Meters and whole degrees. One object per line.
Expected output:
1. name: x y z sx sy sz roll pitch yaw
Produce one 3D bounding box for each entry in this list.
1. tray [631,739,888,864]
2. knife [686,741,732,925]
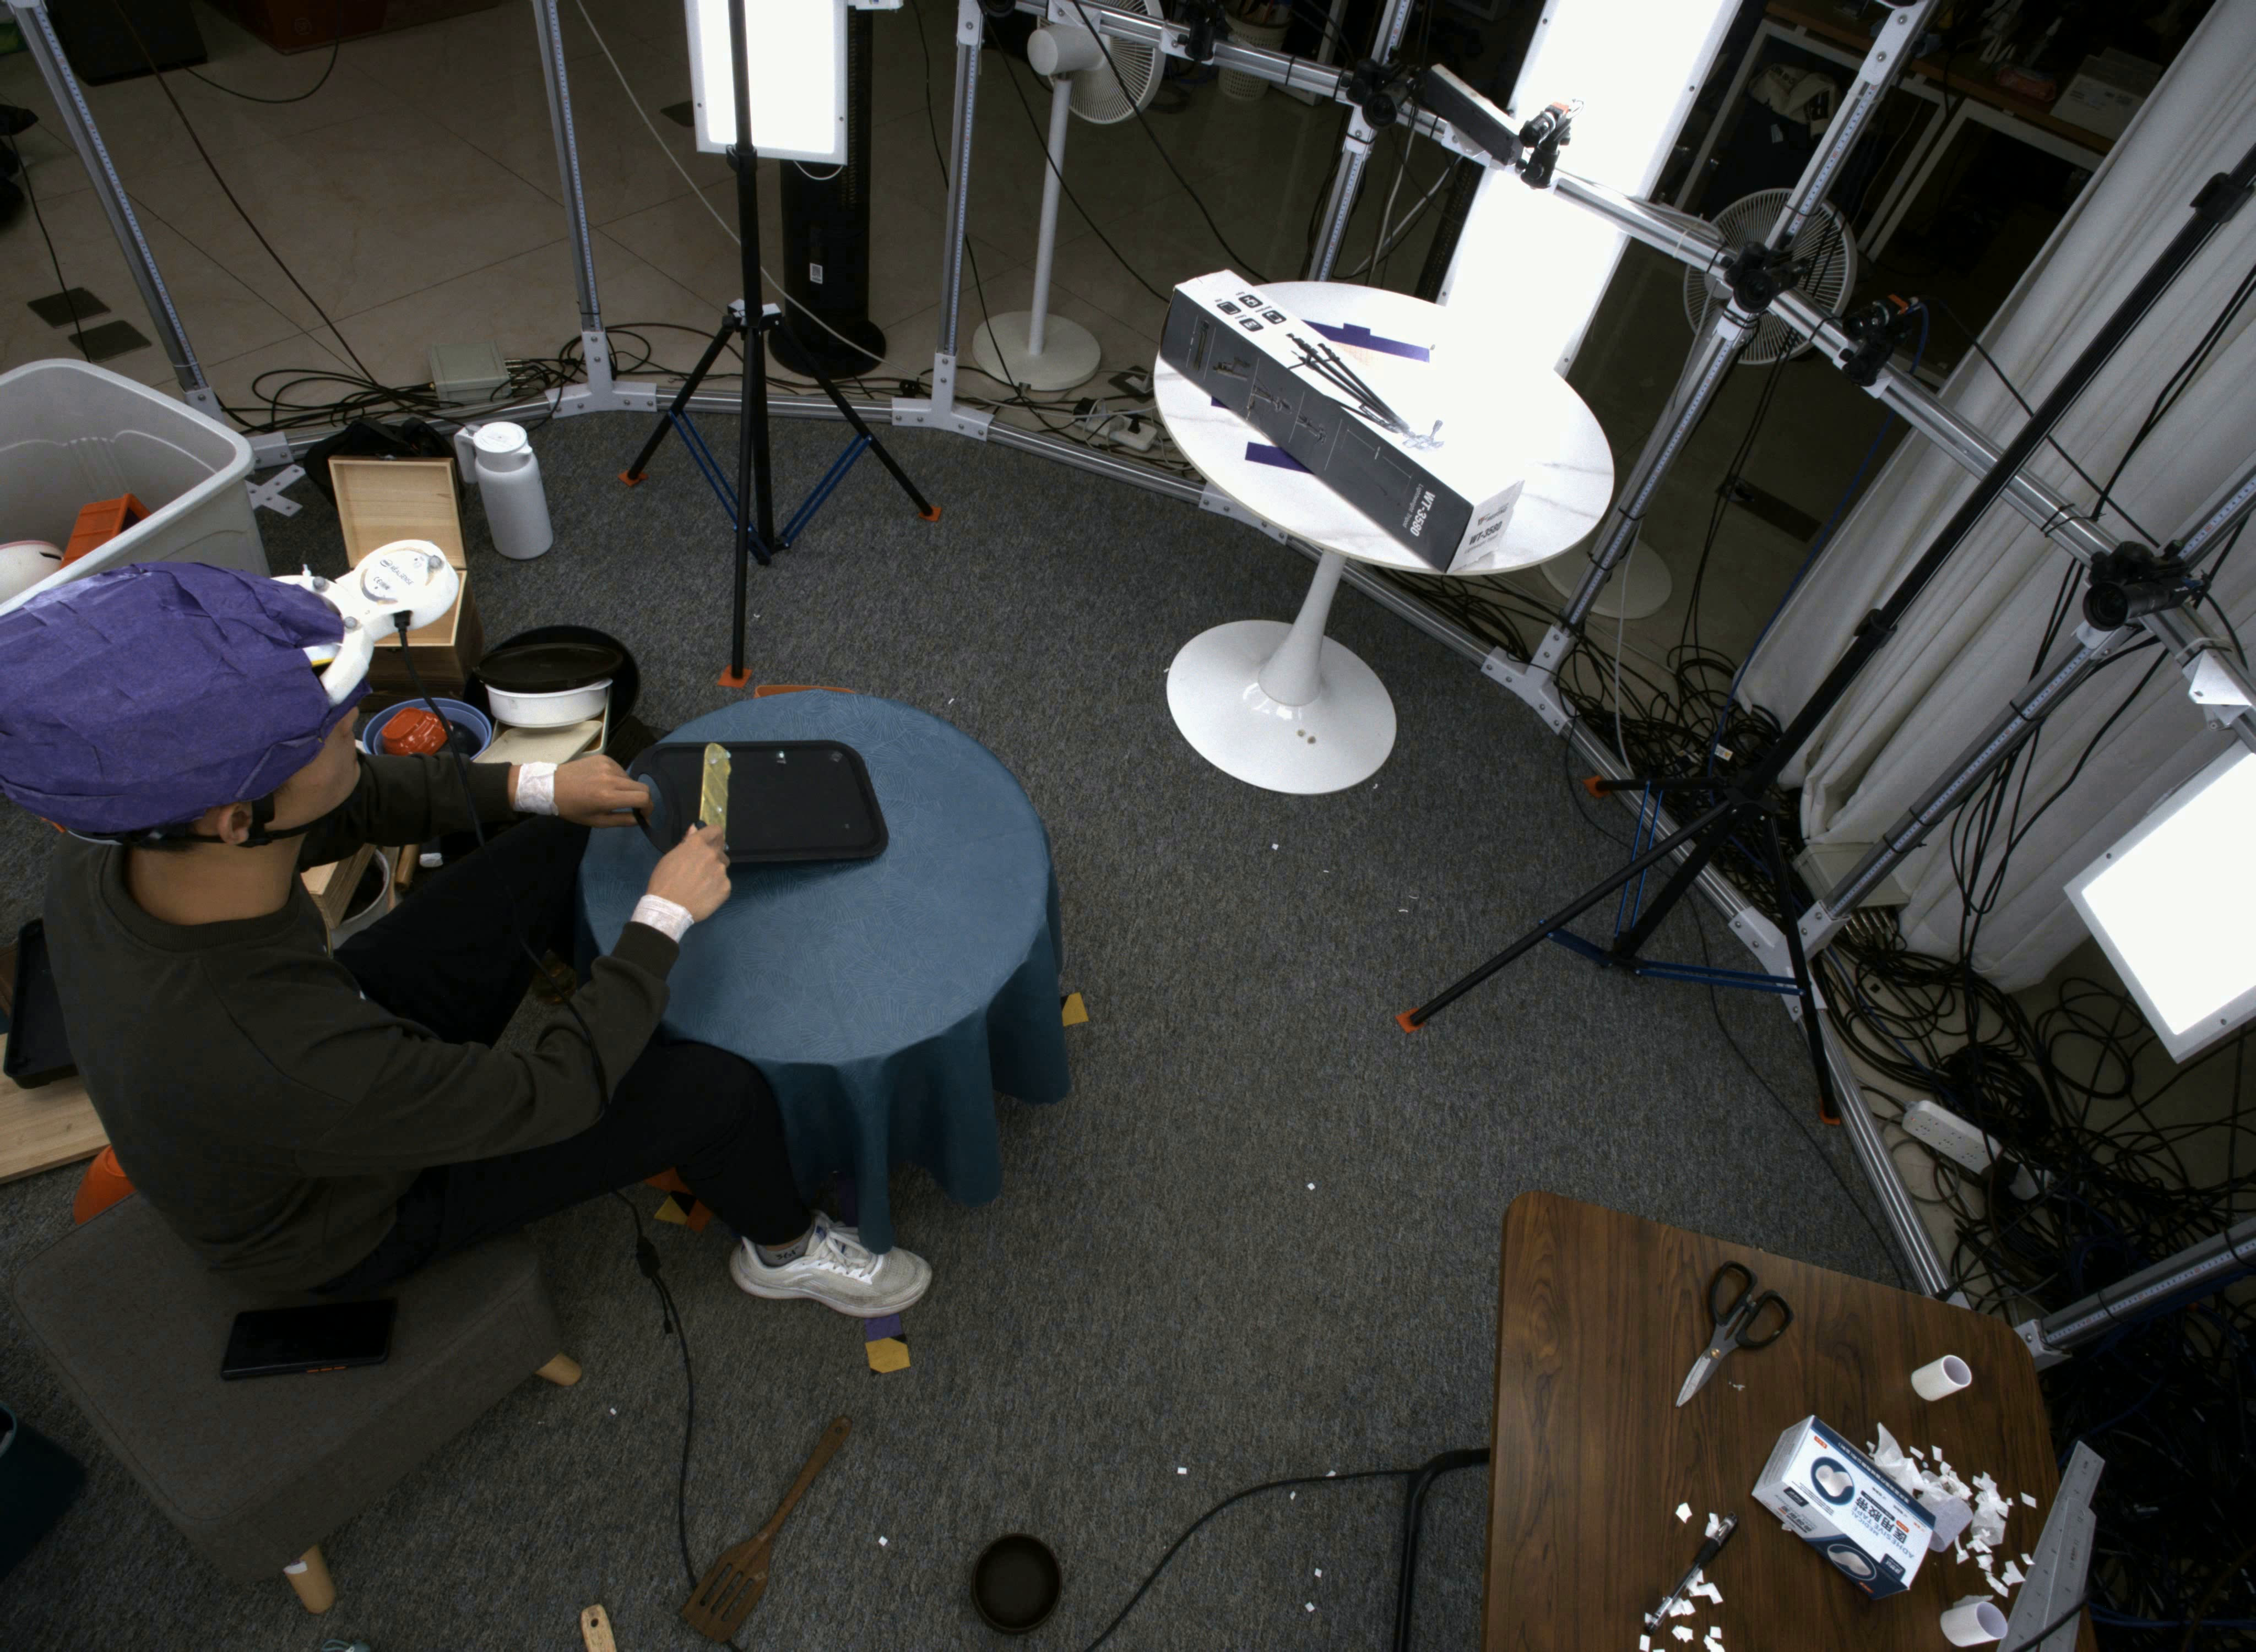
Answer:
1. tray: -0.482 -0.038 1.692 0.330 0.010 0.206 -2 52 -34
2. knife: -0.510 0.005 1.585 0.027 0.084 0.283 -11 51 7
